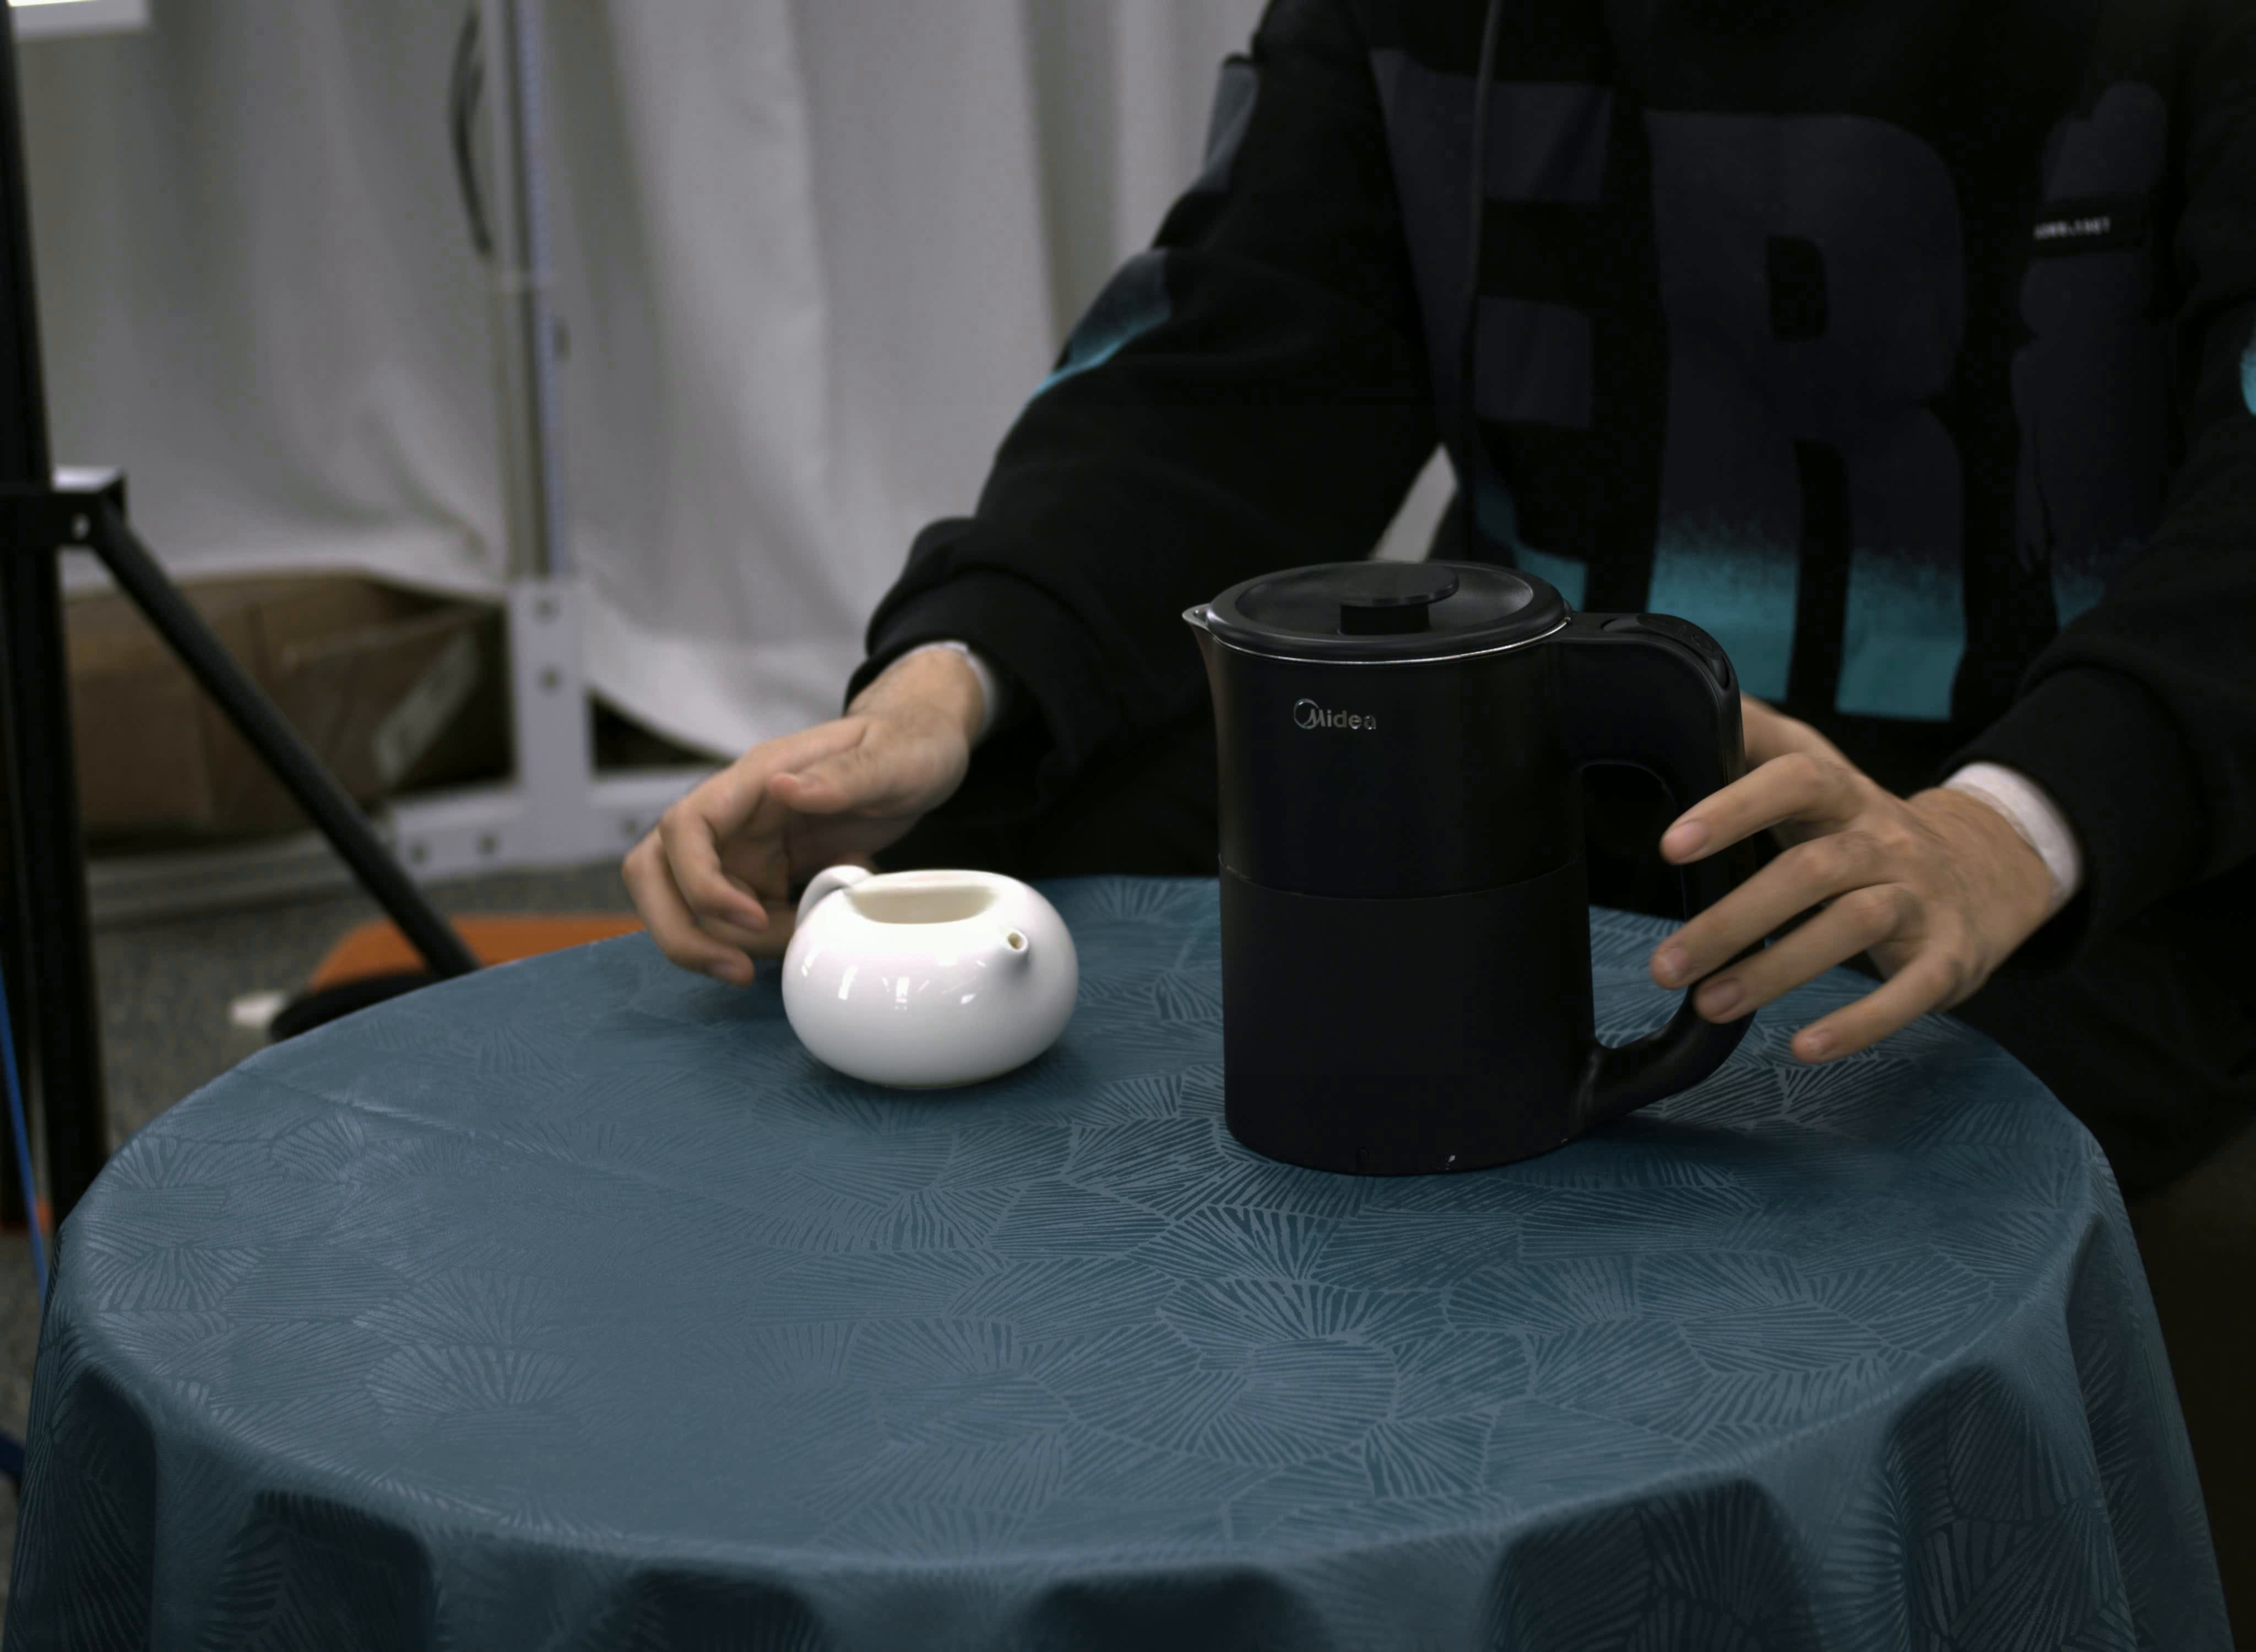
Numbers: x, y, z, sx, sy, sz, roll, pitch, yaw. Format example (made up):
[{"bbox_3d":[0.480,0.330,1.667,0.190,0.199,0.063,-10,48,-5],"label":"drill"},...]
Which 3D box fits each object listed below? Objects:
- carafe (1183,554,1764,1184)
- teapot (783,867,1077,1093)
[{"bbox_3d":[0.102,0.008,1.582,0.173,0.173,0.113,0,13,19],"label":"carafe"},{"bbox_3d":[-0.070,0.047,1.686,0.091,0.056,0.130,-20,23,-38],"label":"teapot"}]
